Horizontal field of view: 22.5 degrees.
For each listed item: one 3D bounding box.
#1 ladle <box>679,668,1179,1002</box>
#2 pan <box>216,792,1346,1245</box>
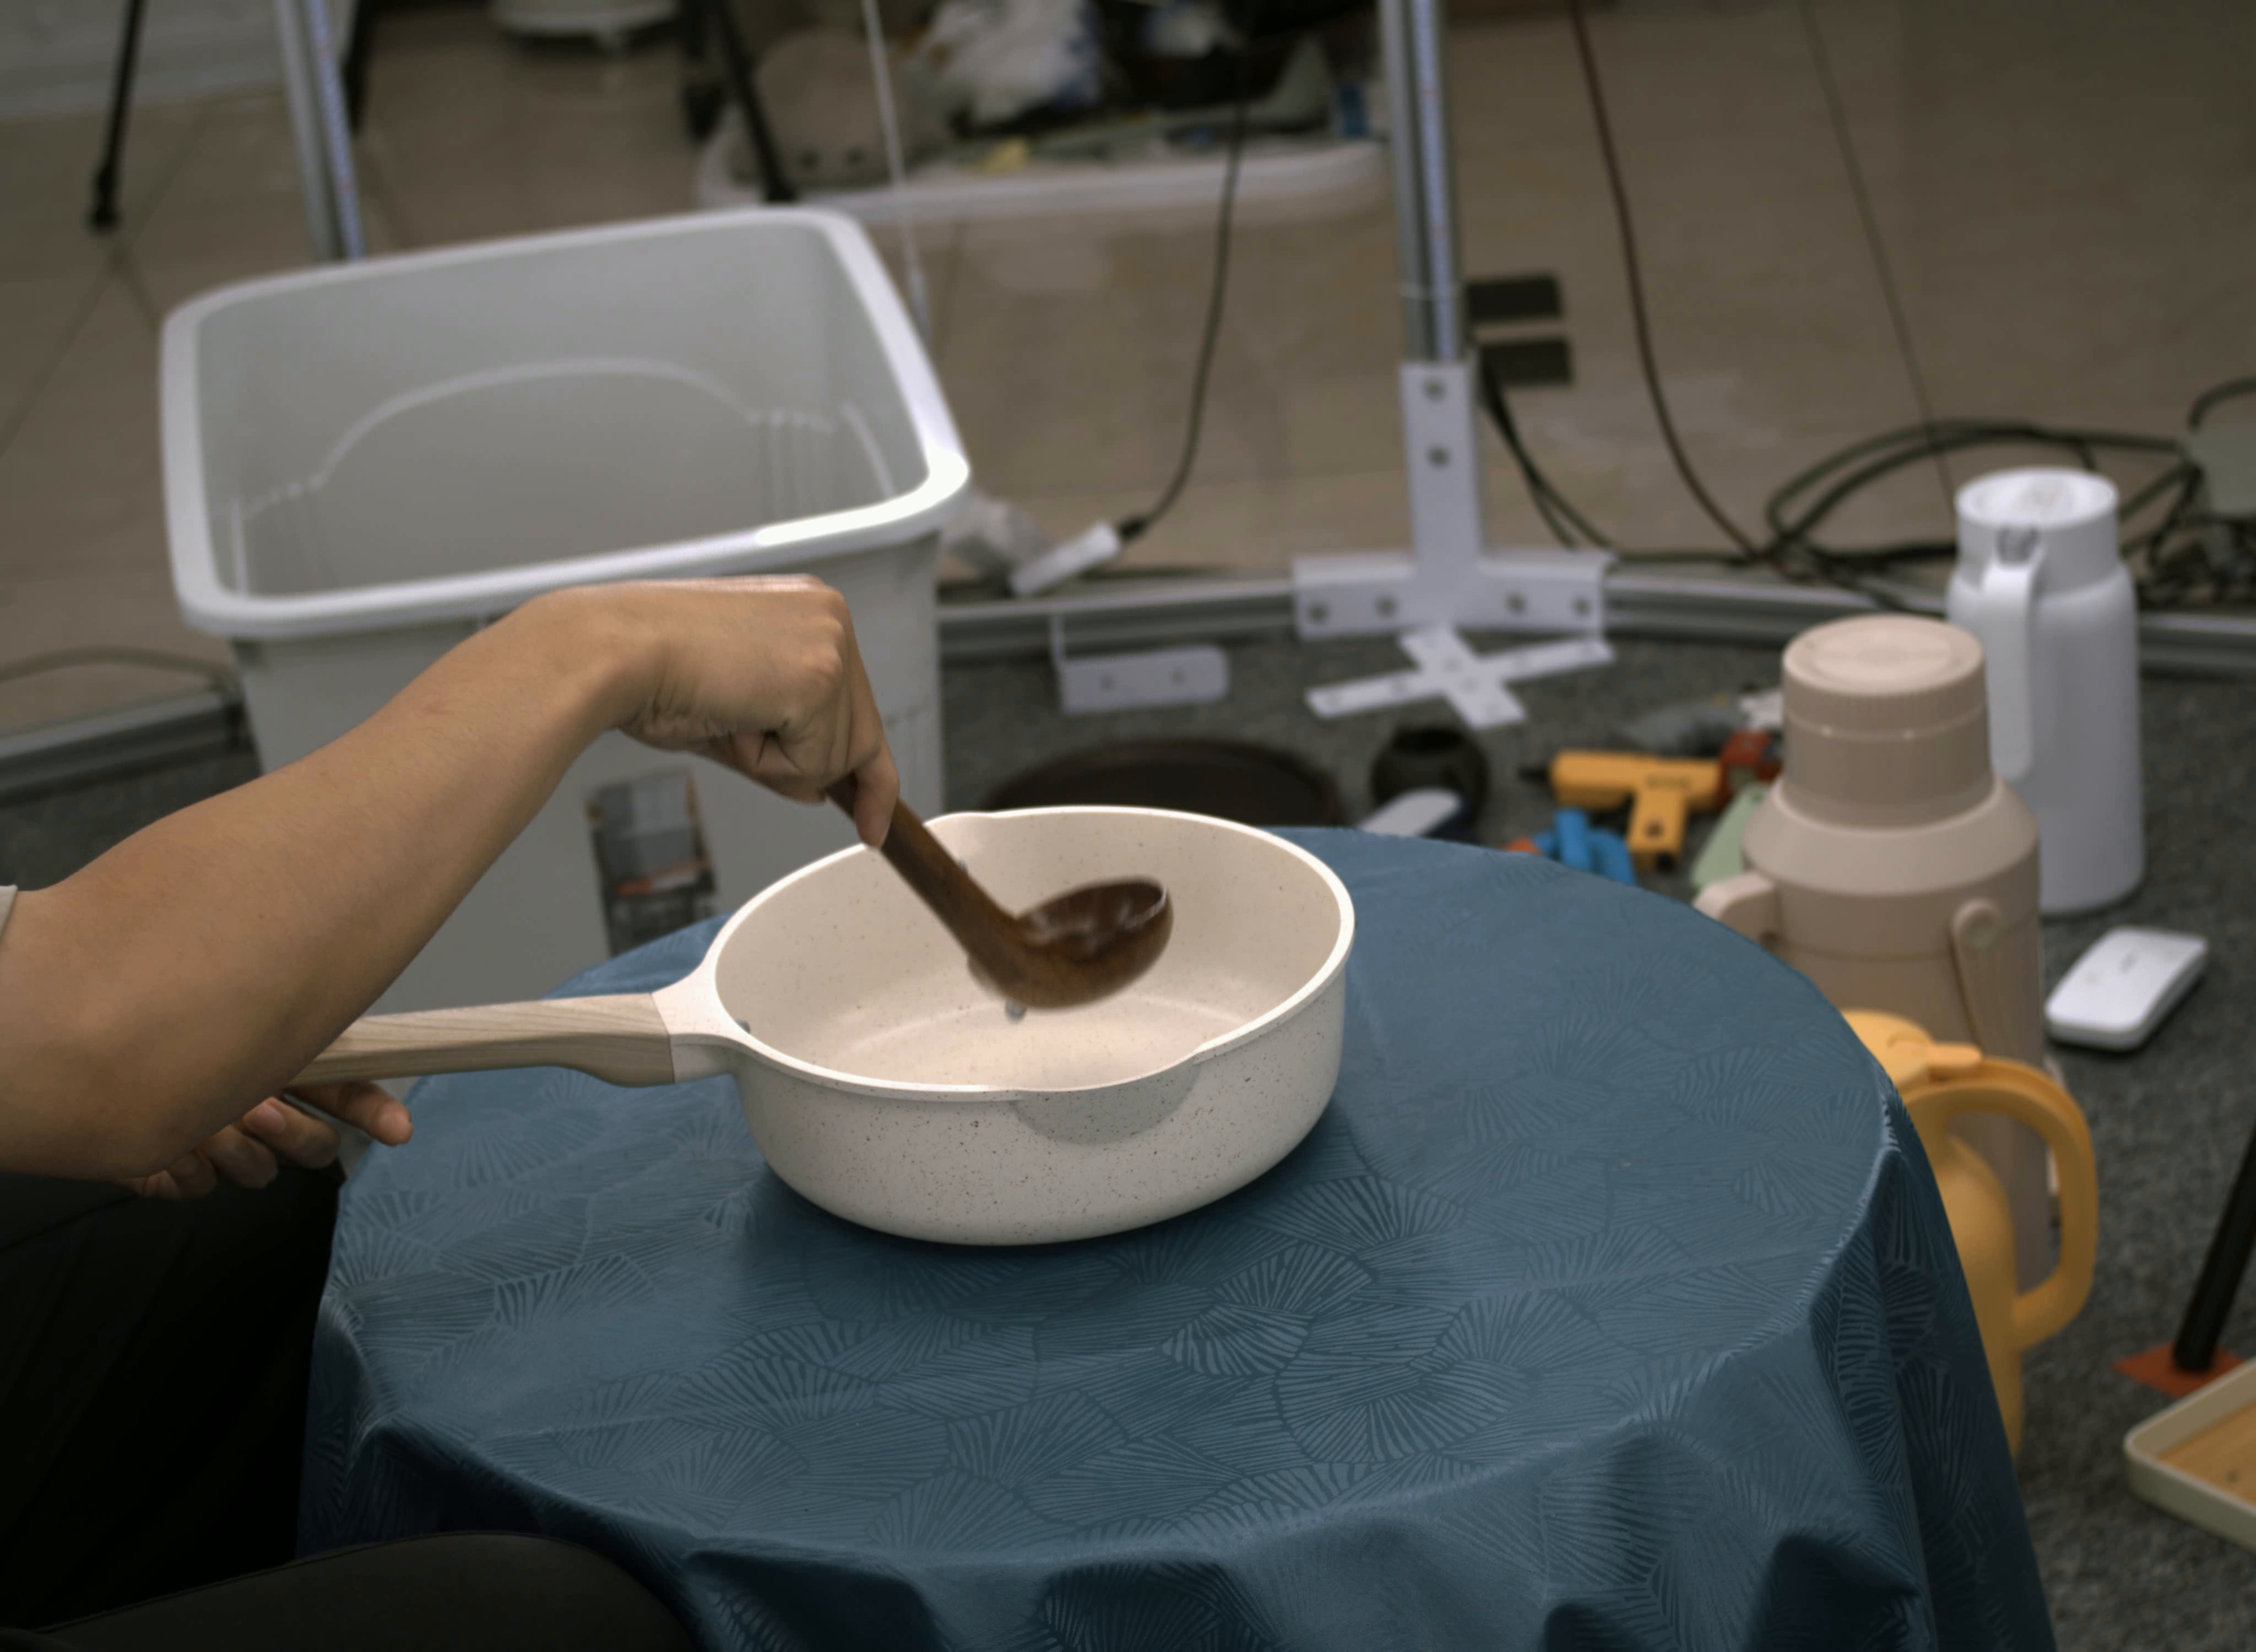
[{"bbox_3d":[-0.072,-0.012,2.047,0.082,0.278,0.075,-18,52,25],"label":"ladle"},{"bbox_3d":[-0.126,0.090,2.170,0.434,0.103,0.259,-12,27,-11],"label":"pan"}]
